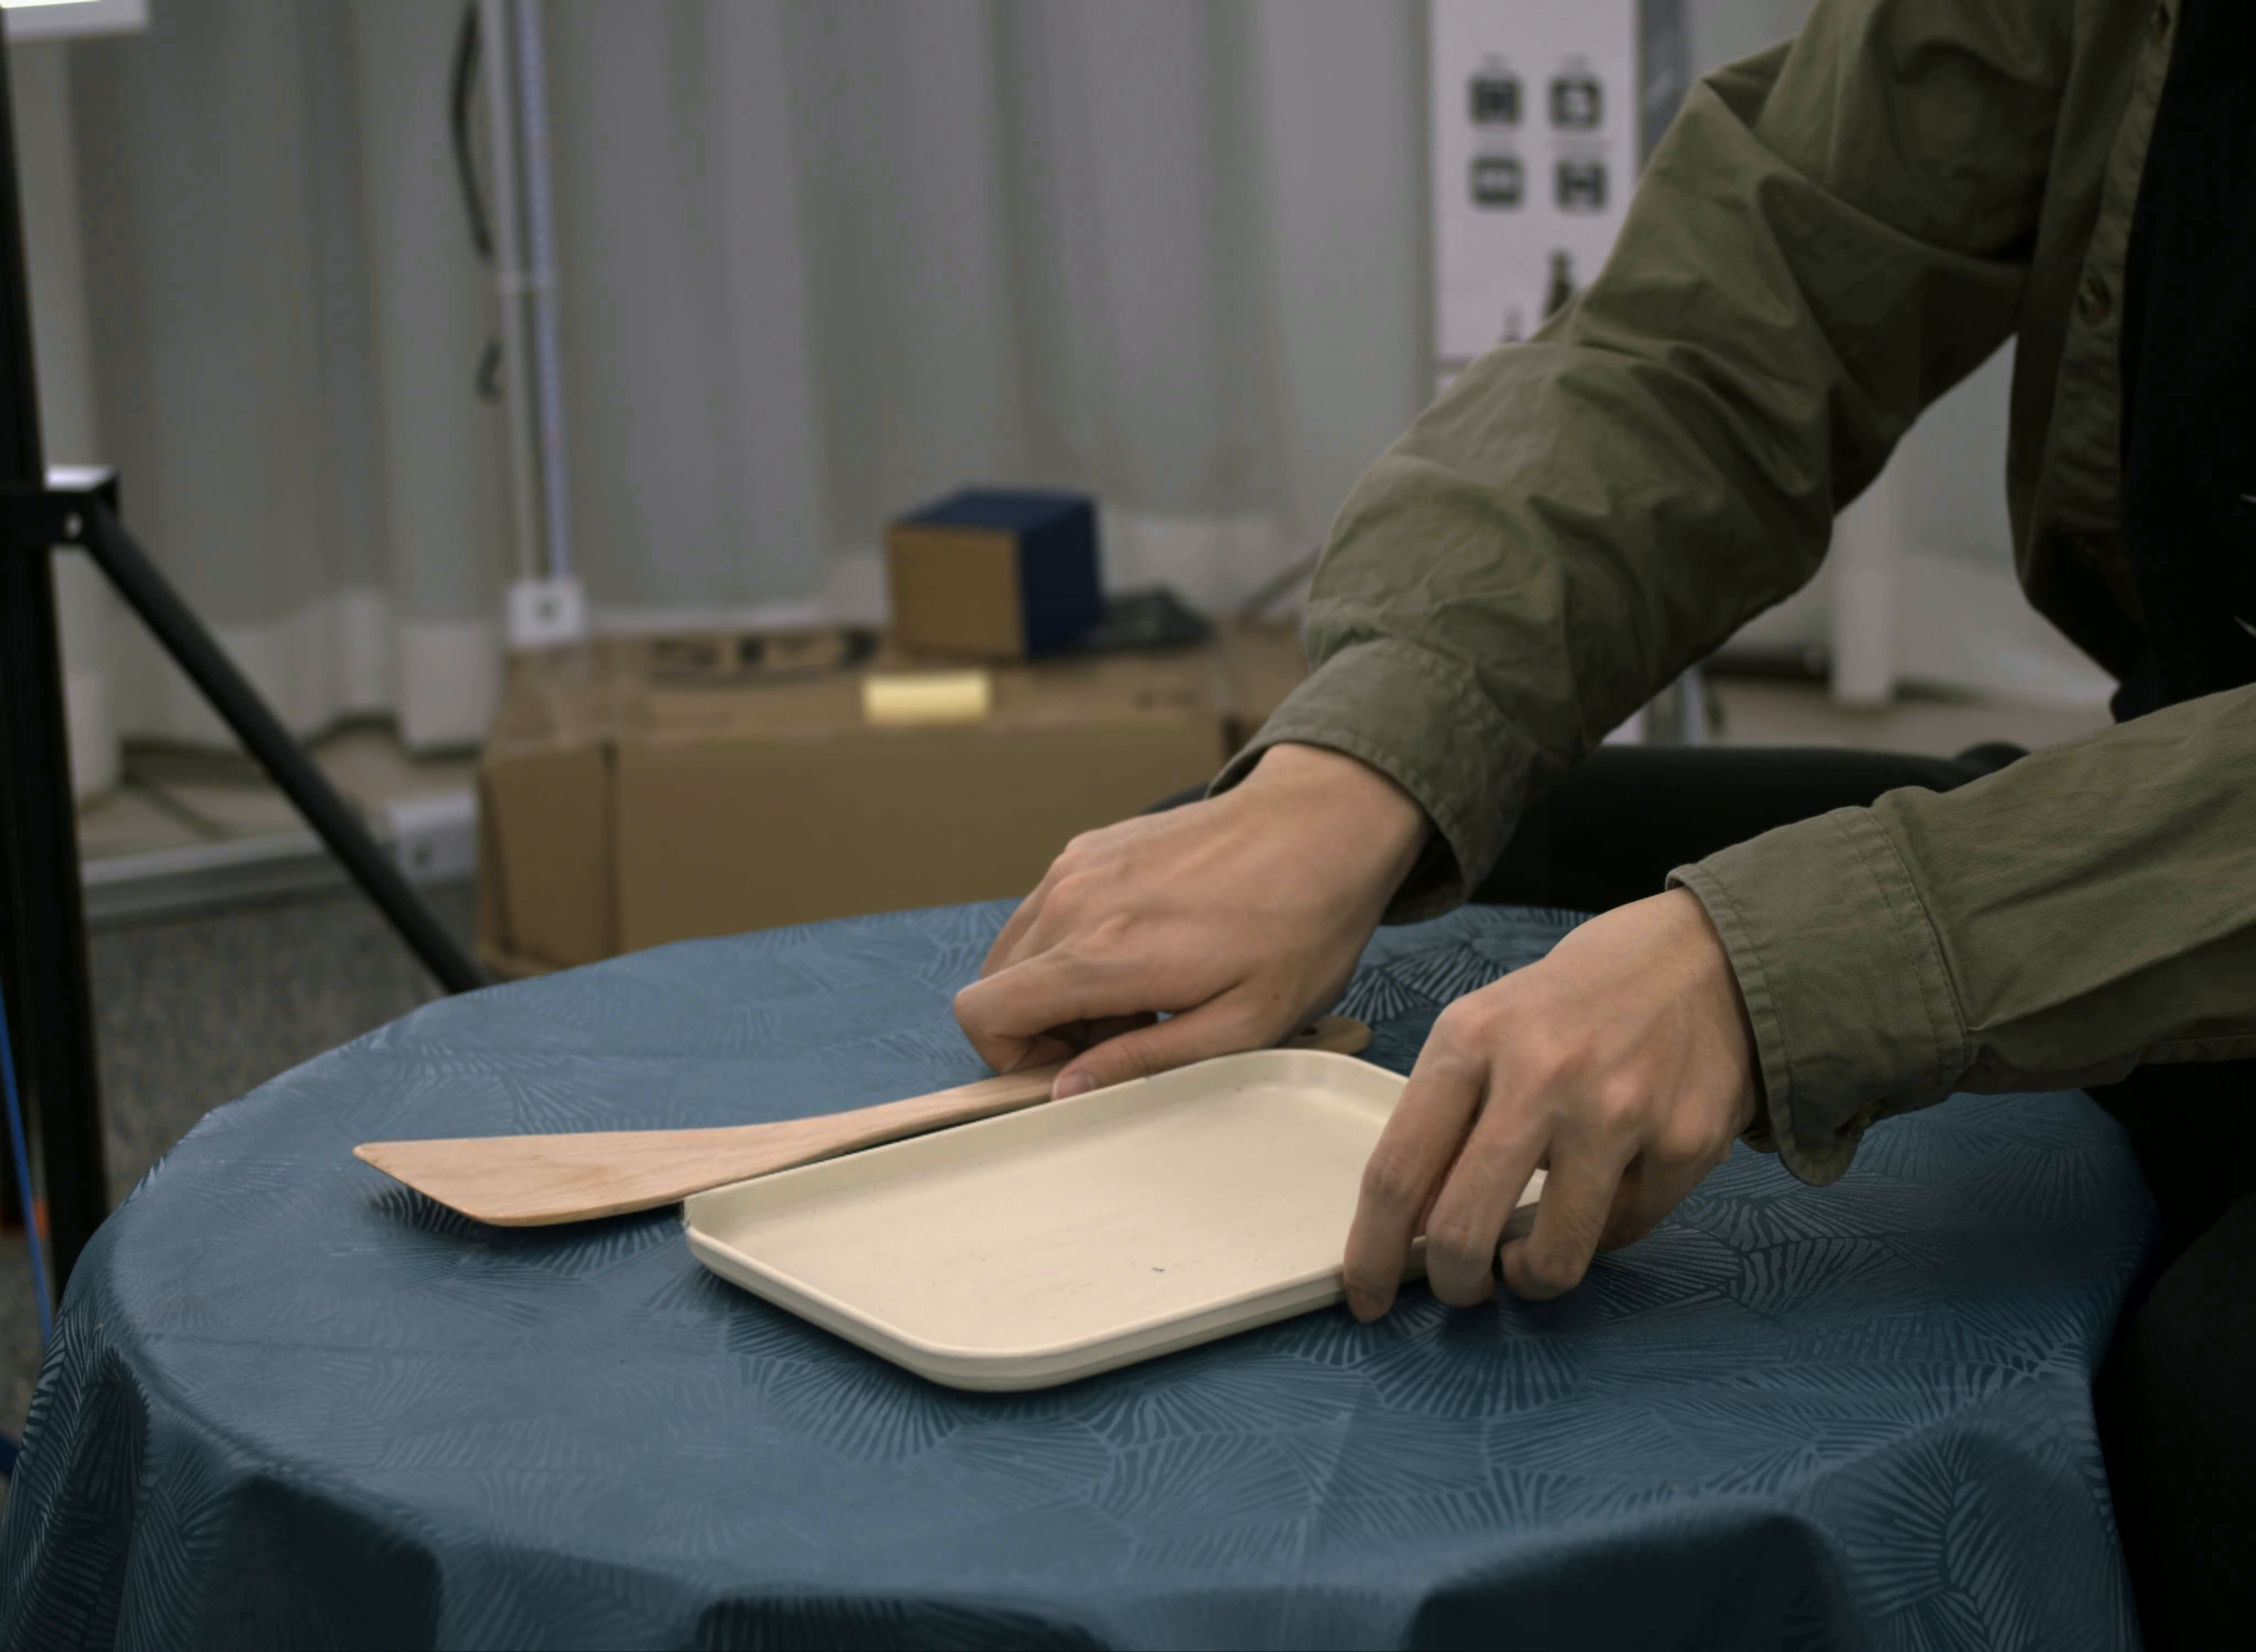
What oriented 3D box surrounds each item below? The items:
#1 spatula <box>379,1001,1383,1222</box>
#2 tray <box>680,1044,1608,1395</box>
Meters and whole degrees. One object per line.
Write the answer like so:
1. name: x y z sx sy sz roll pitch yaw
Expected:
1. spatula: -0.063 0.083 1.626 0.321 0.016 0.081 -11 18 -24
2. tray: 0.006 0.111 1.519 0.234 0.017 0.175 -13 20 -33
